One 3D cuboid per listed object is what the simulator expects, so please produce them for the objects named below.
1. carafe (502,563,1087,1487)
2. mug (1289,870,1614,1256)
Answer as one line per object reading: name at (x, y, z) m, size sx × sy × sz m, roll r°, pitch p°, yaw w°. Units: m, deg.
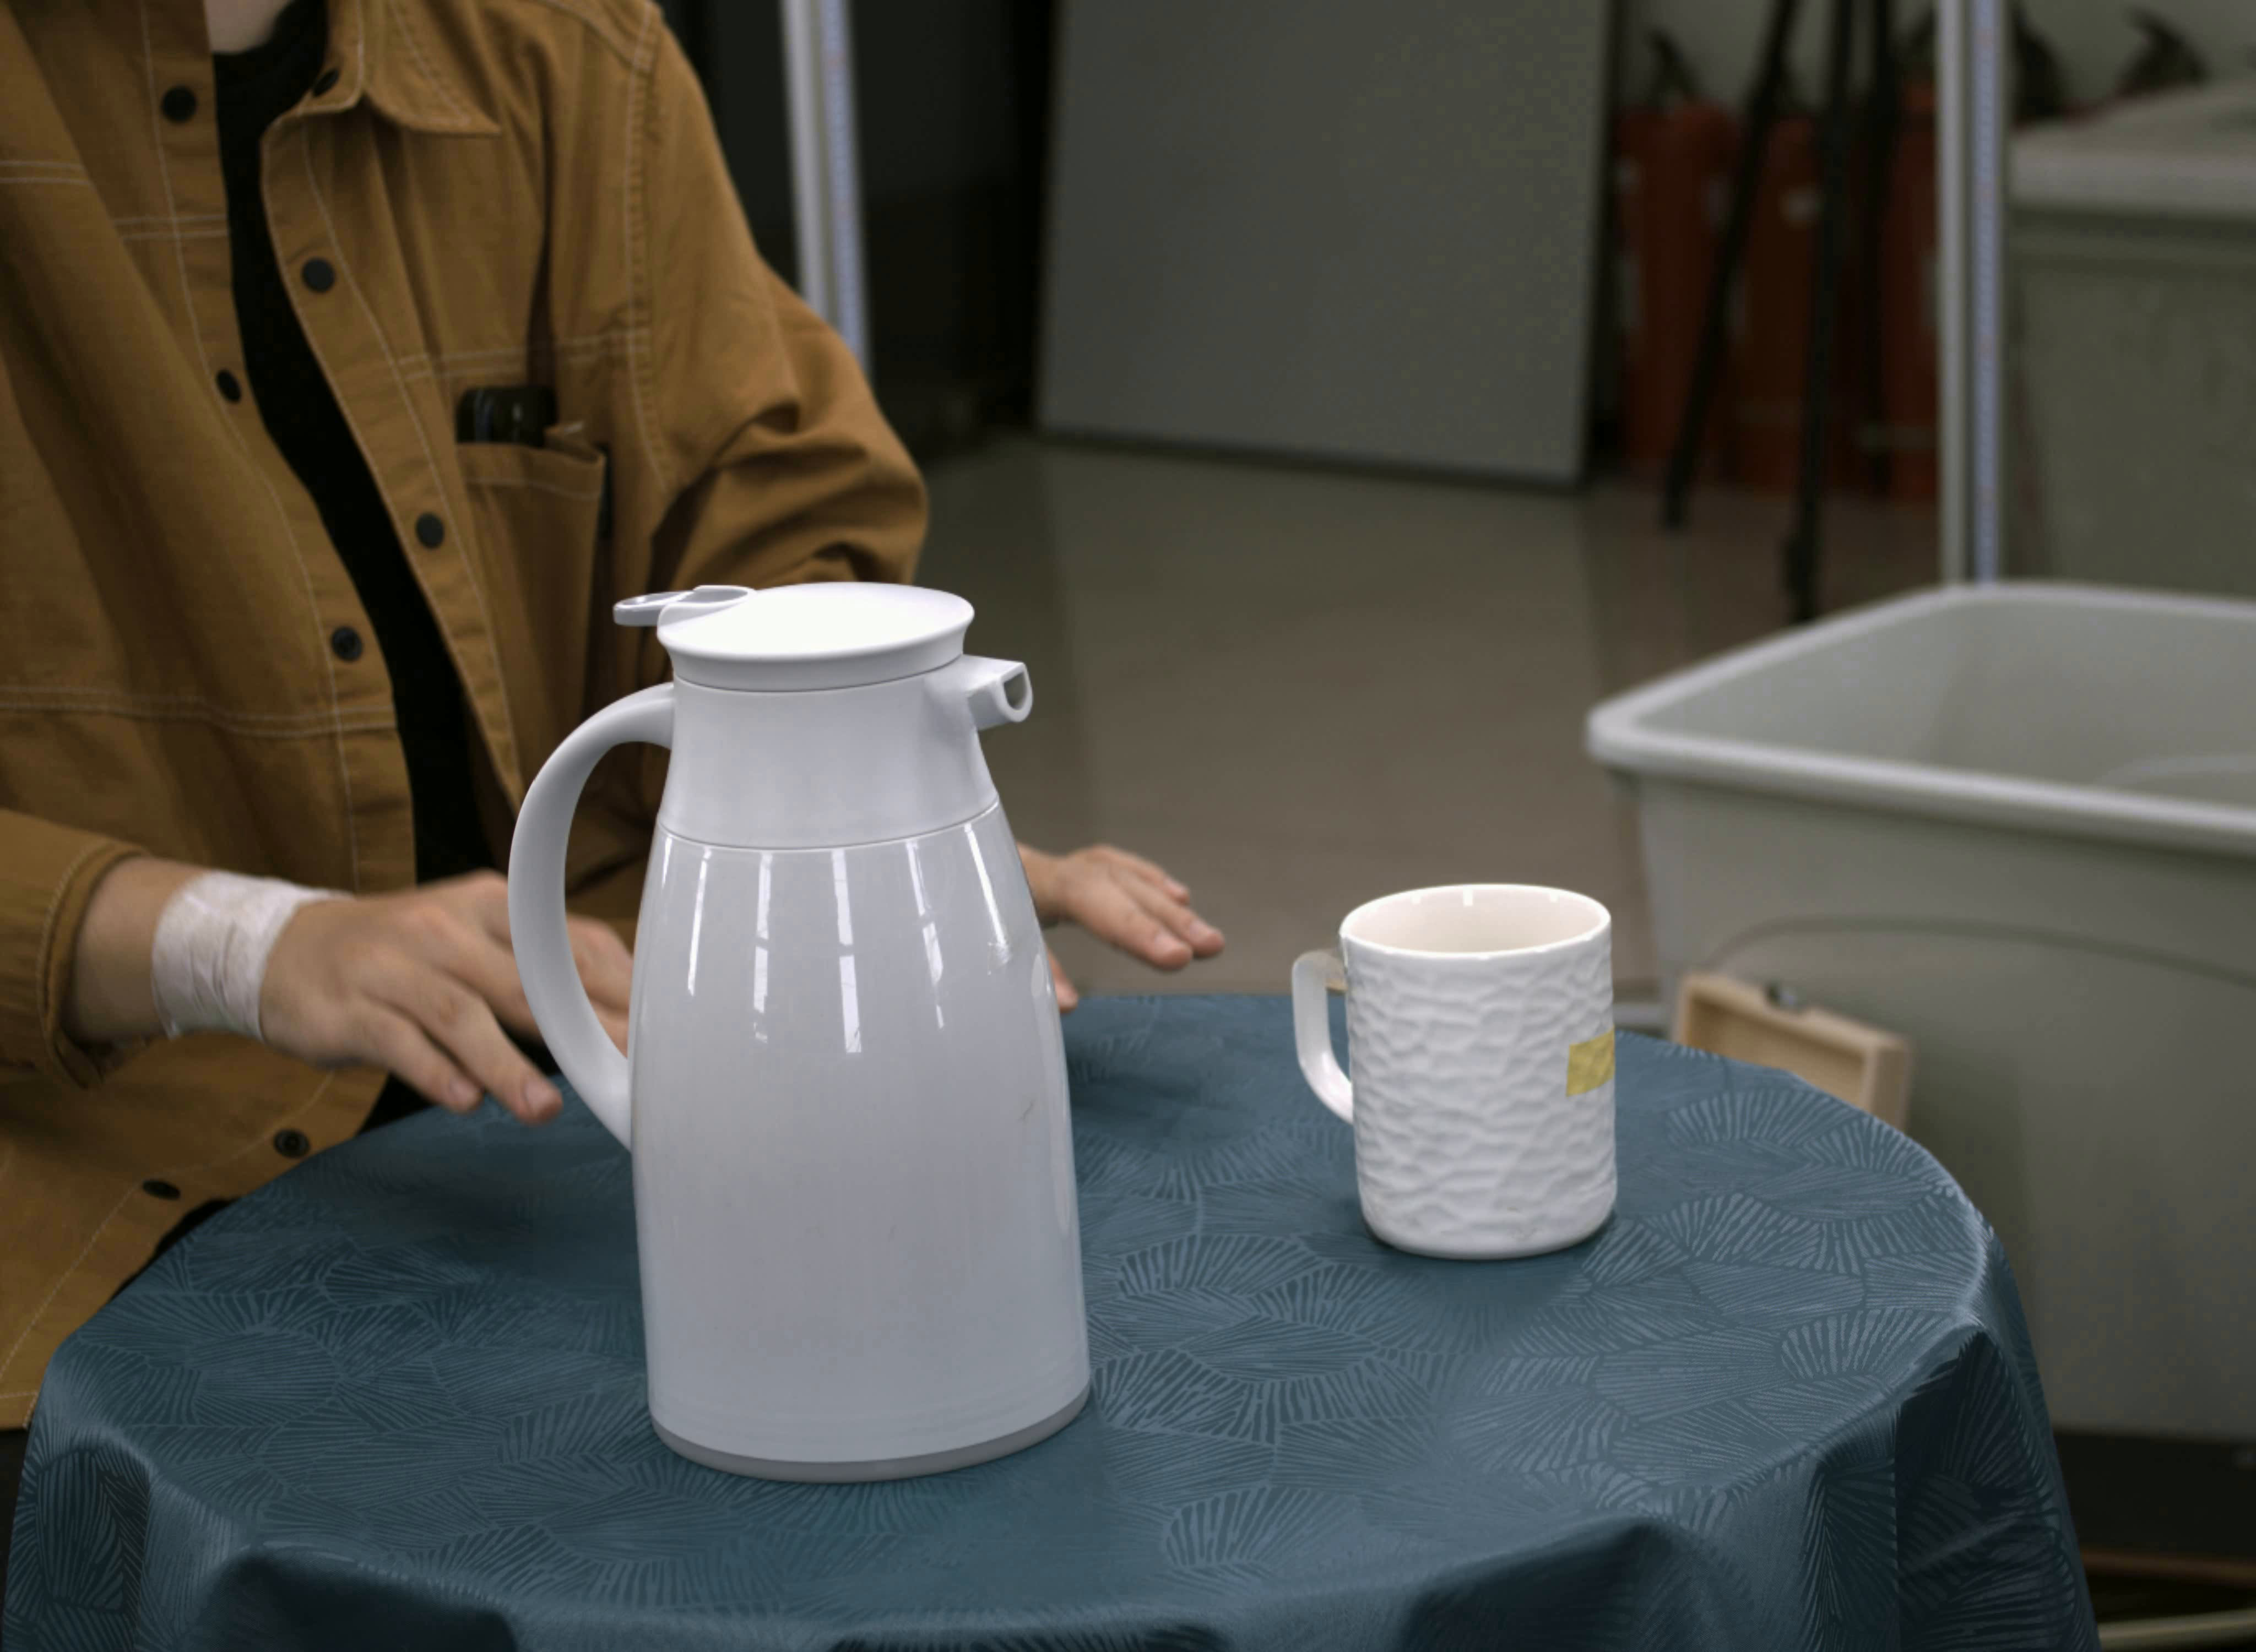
carafe at (-0.102, 0.050, 1.571) m, size 0.167 × 0.251 × 0.131 m, roll 1°, pitch 15°, yaw 22°
mug at (0.100, 0.073, 1.715) m, size 0.119 × 0.103 × 0.083 m, roll 10°, pitch 20°, yaw 41°
